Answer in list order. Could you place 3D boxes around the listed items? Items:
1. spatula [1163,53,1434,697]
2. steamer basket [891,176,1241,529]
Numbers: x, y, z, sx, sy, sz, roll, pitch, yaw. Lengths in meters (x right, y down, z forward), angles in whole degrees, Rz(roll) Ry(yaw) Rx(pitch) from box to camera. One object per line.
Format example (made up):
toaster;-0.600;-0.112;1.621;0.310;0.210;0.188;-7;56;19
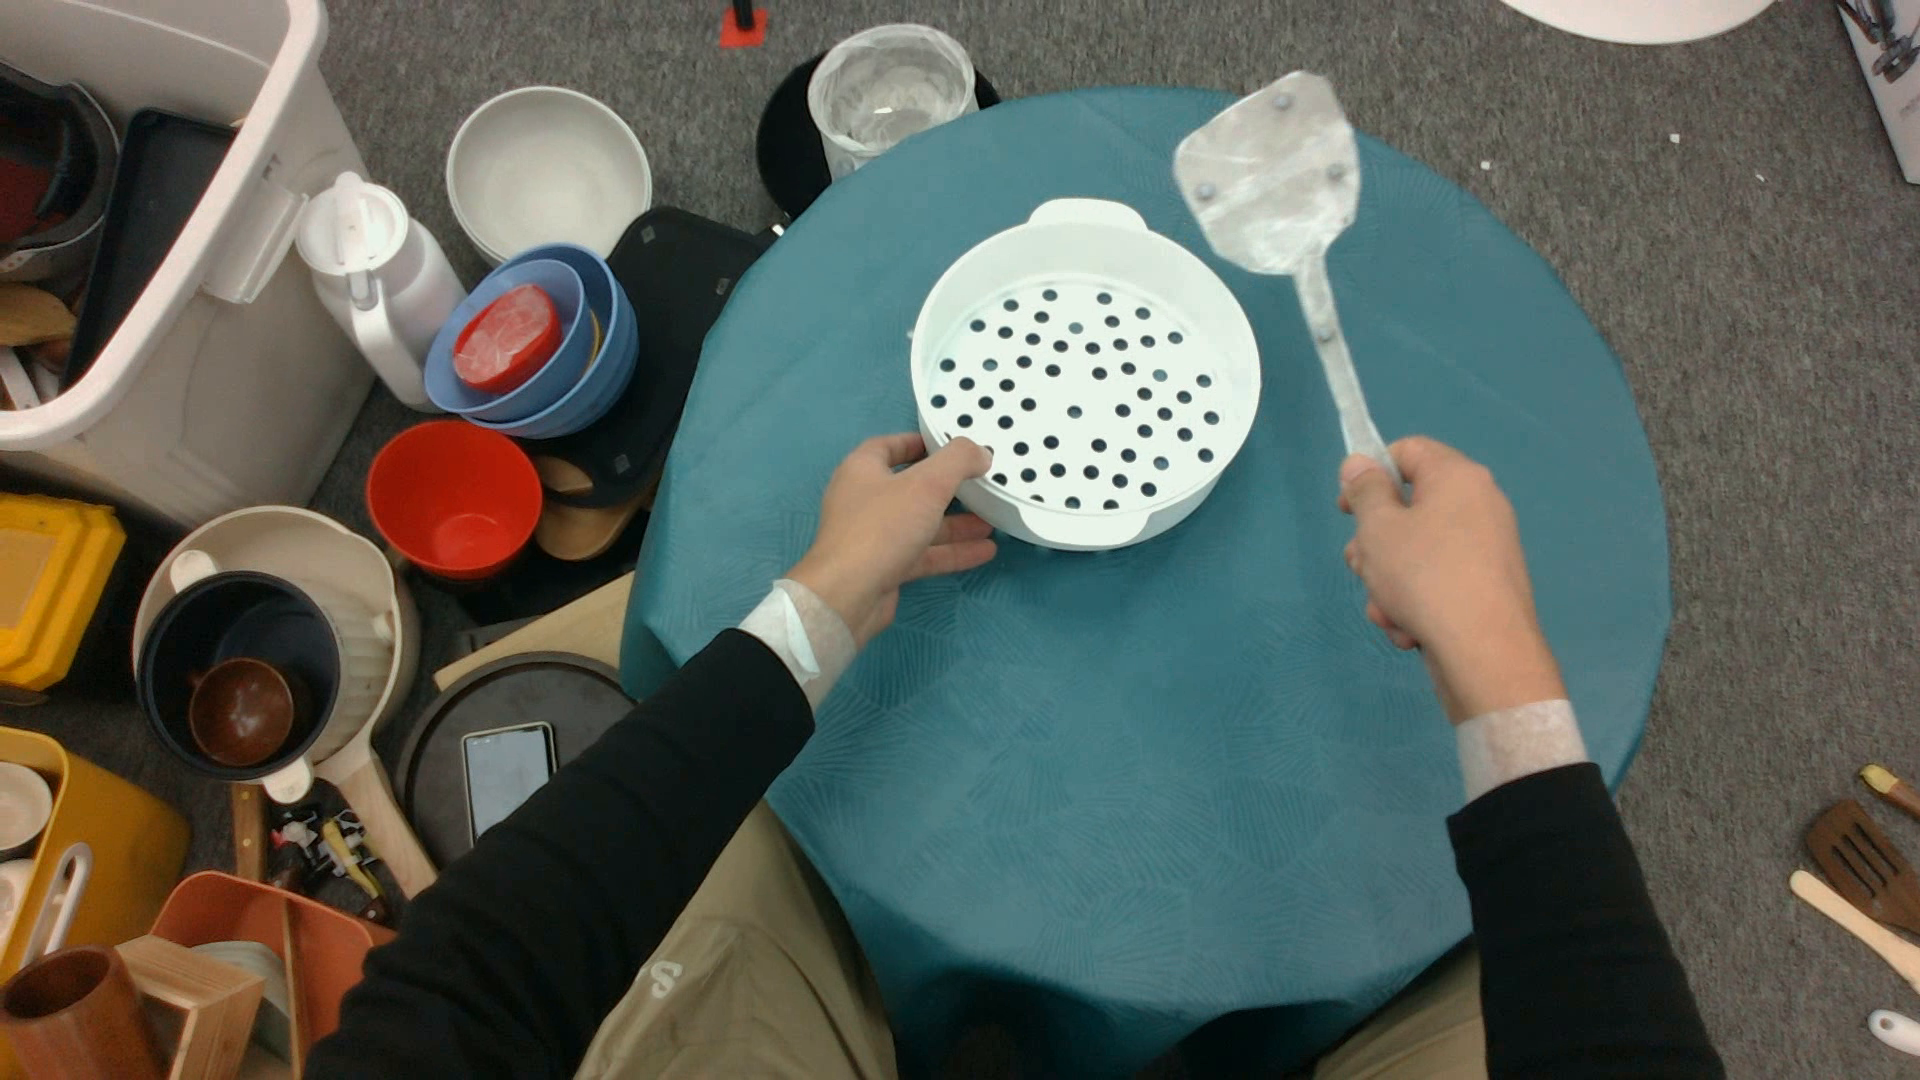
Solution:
spatula;0.185;-0.096;0.706;0.098;0.045;0.366;-22;58;24
steamer basket;0.060;-0.104;0.815;0.202;0.069;0.231;3;67;-1
